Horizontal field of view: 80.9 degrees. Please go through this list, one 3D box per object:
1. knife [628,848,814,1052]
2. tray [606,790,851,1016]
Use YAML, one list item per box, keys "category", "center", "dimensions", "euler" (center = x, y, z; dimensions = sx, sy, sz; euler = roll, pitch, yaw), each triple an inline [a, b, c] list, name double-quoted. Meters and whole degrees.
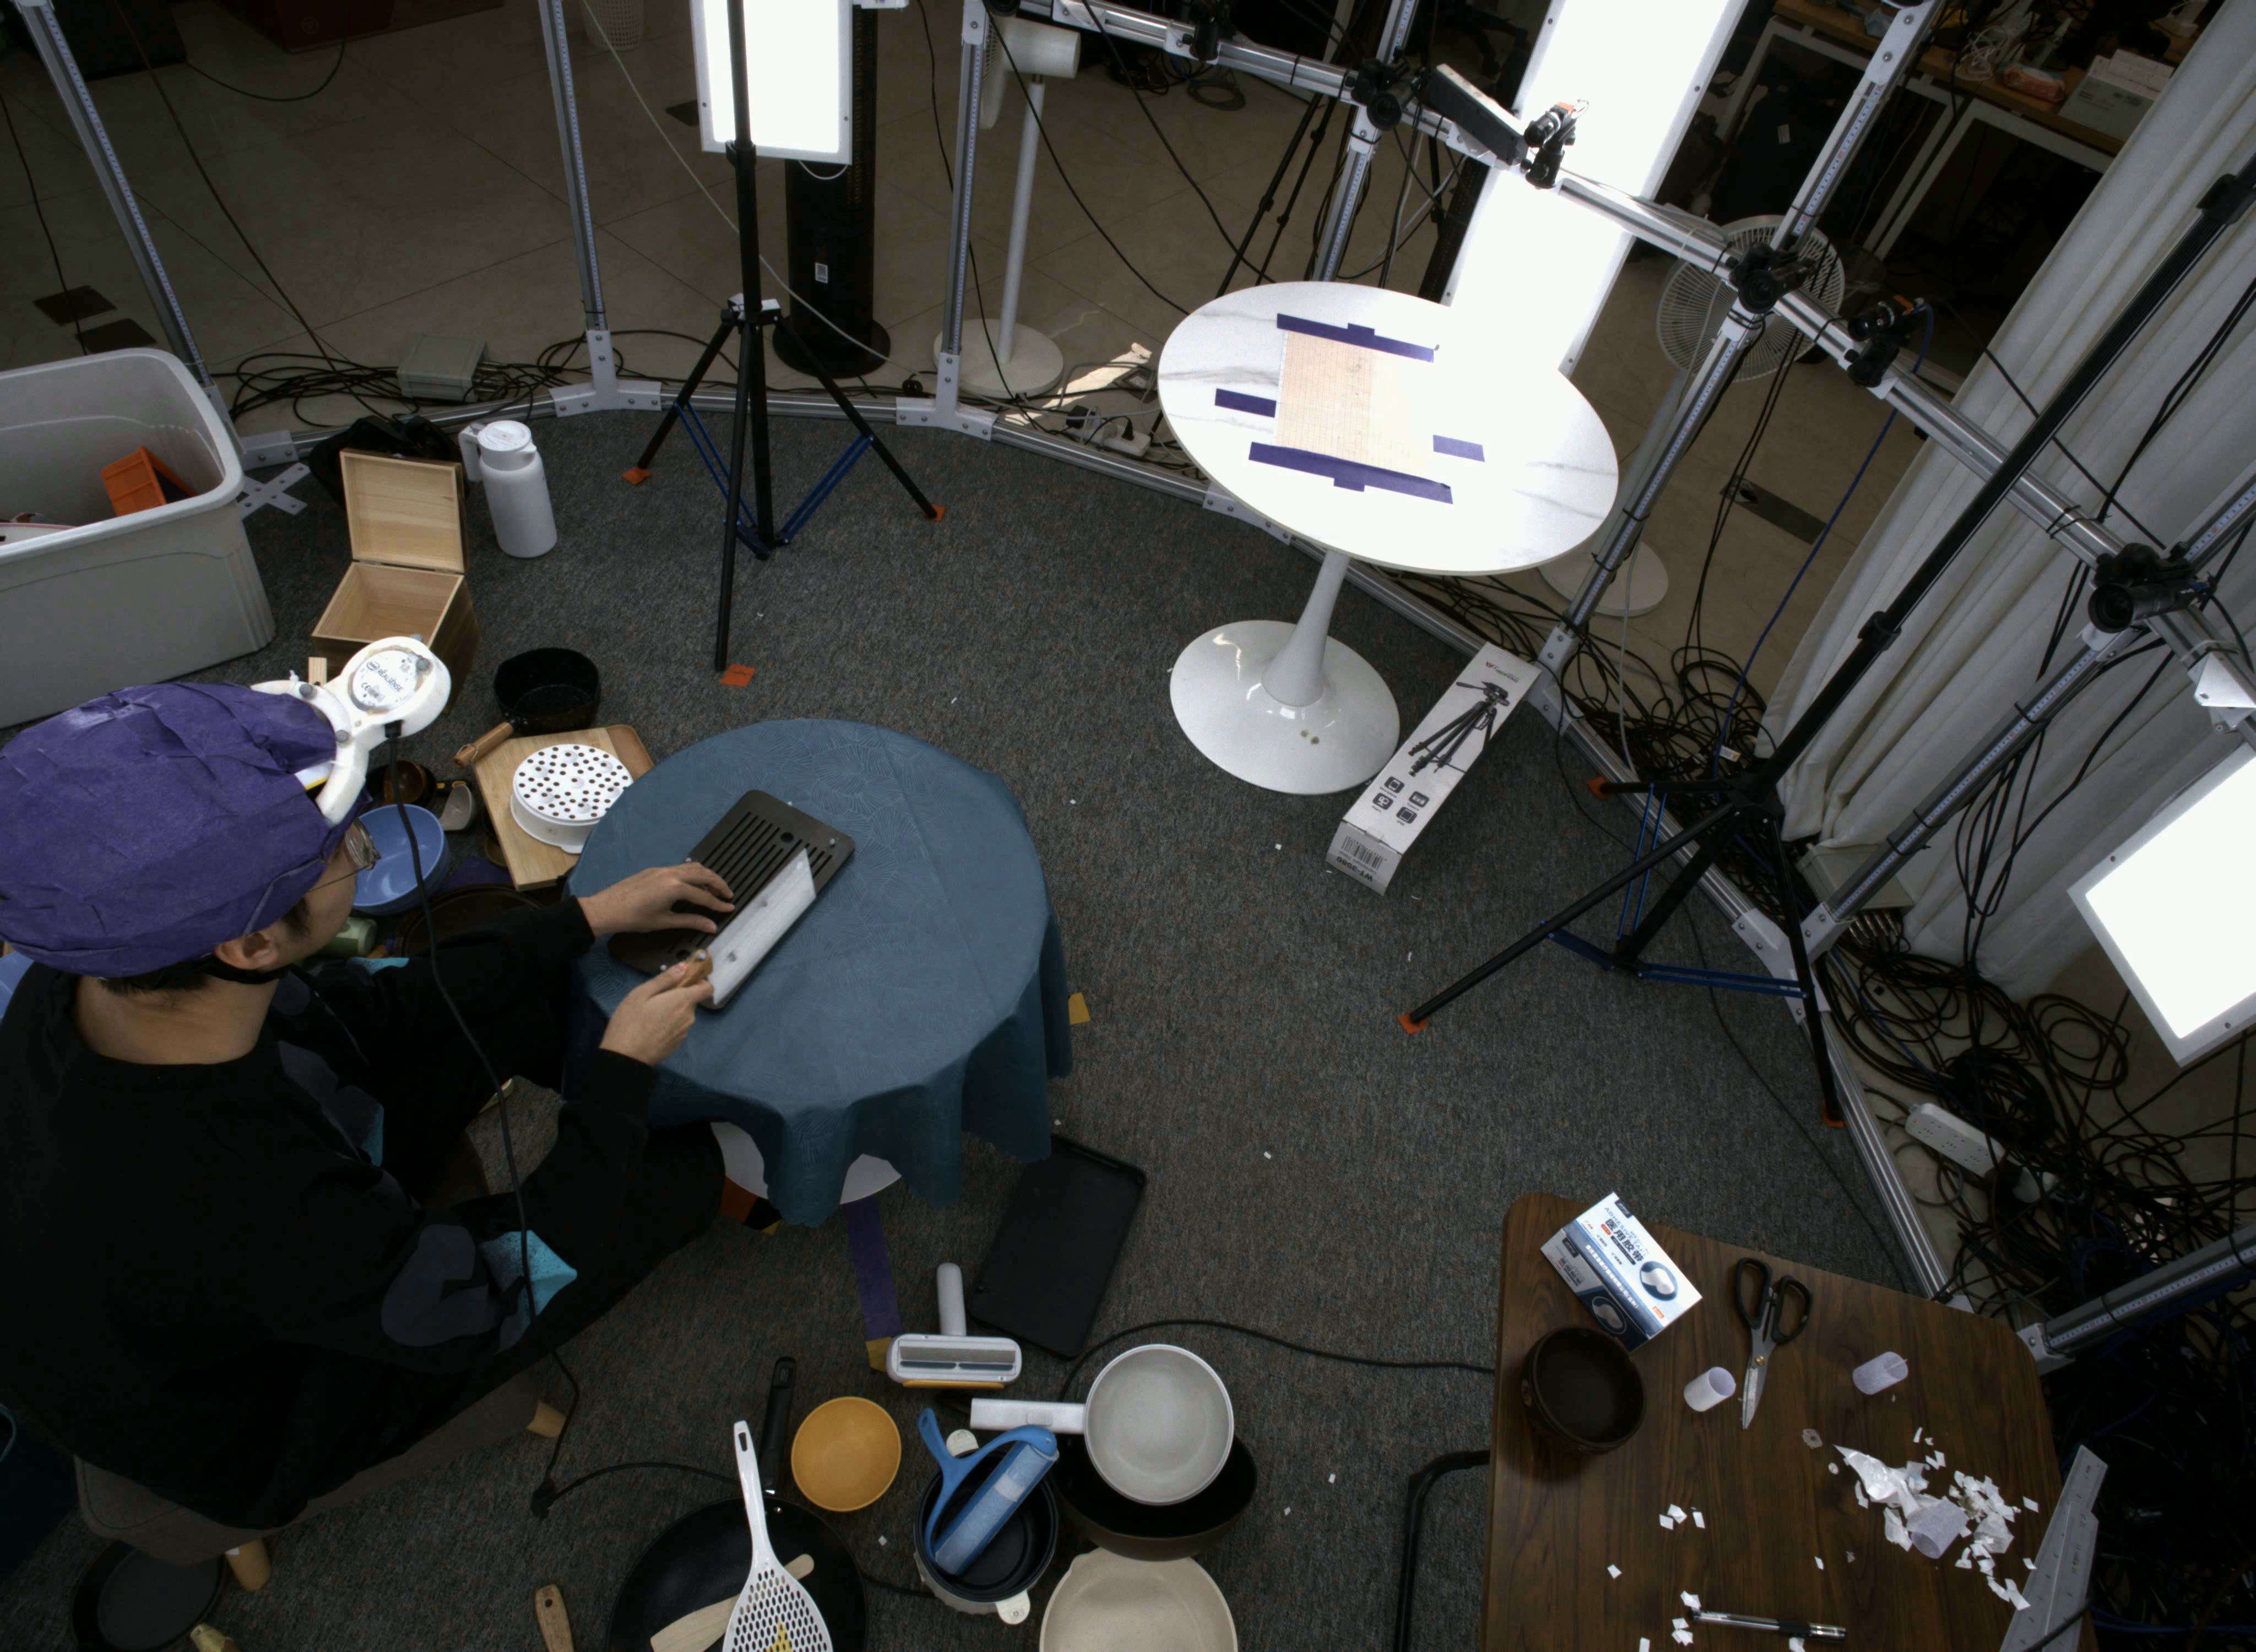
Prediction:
- category: "knife"
  center: [-0.447, 0.147, 1.448]
  dimensions: [0.020, 0.096, 0.304]
  euler: [20, 48, 19]
- category: "tray"
  center: [-0.496, 0.089, 1.616]
  dimensions: [0.168, 0.019, 0.304]
  euler: [28, 52, 6]
